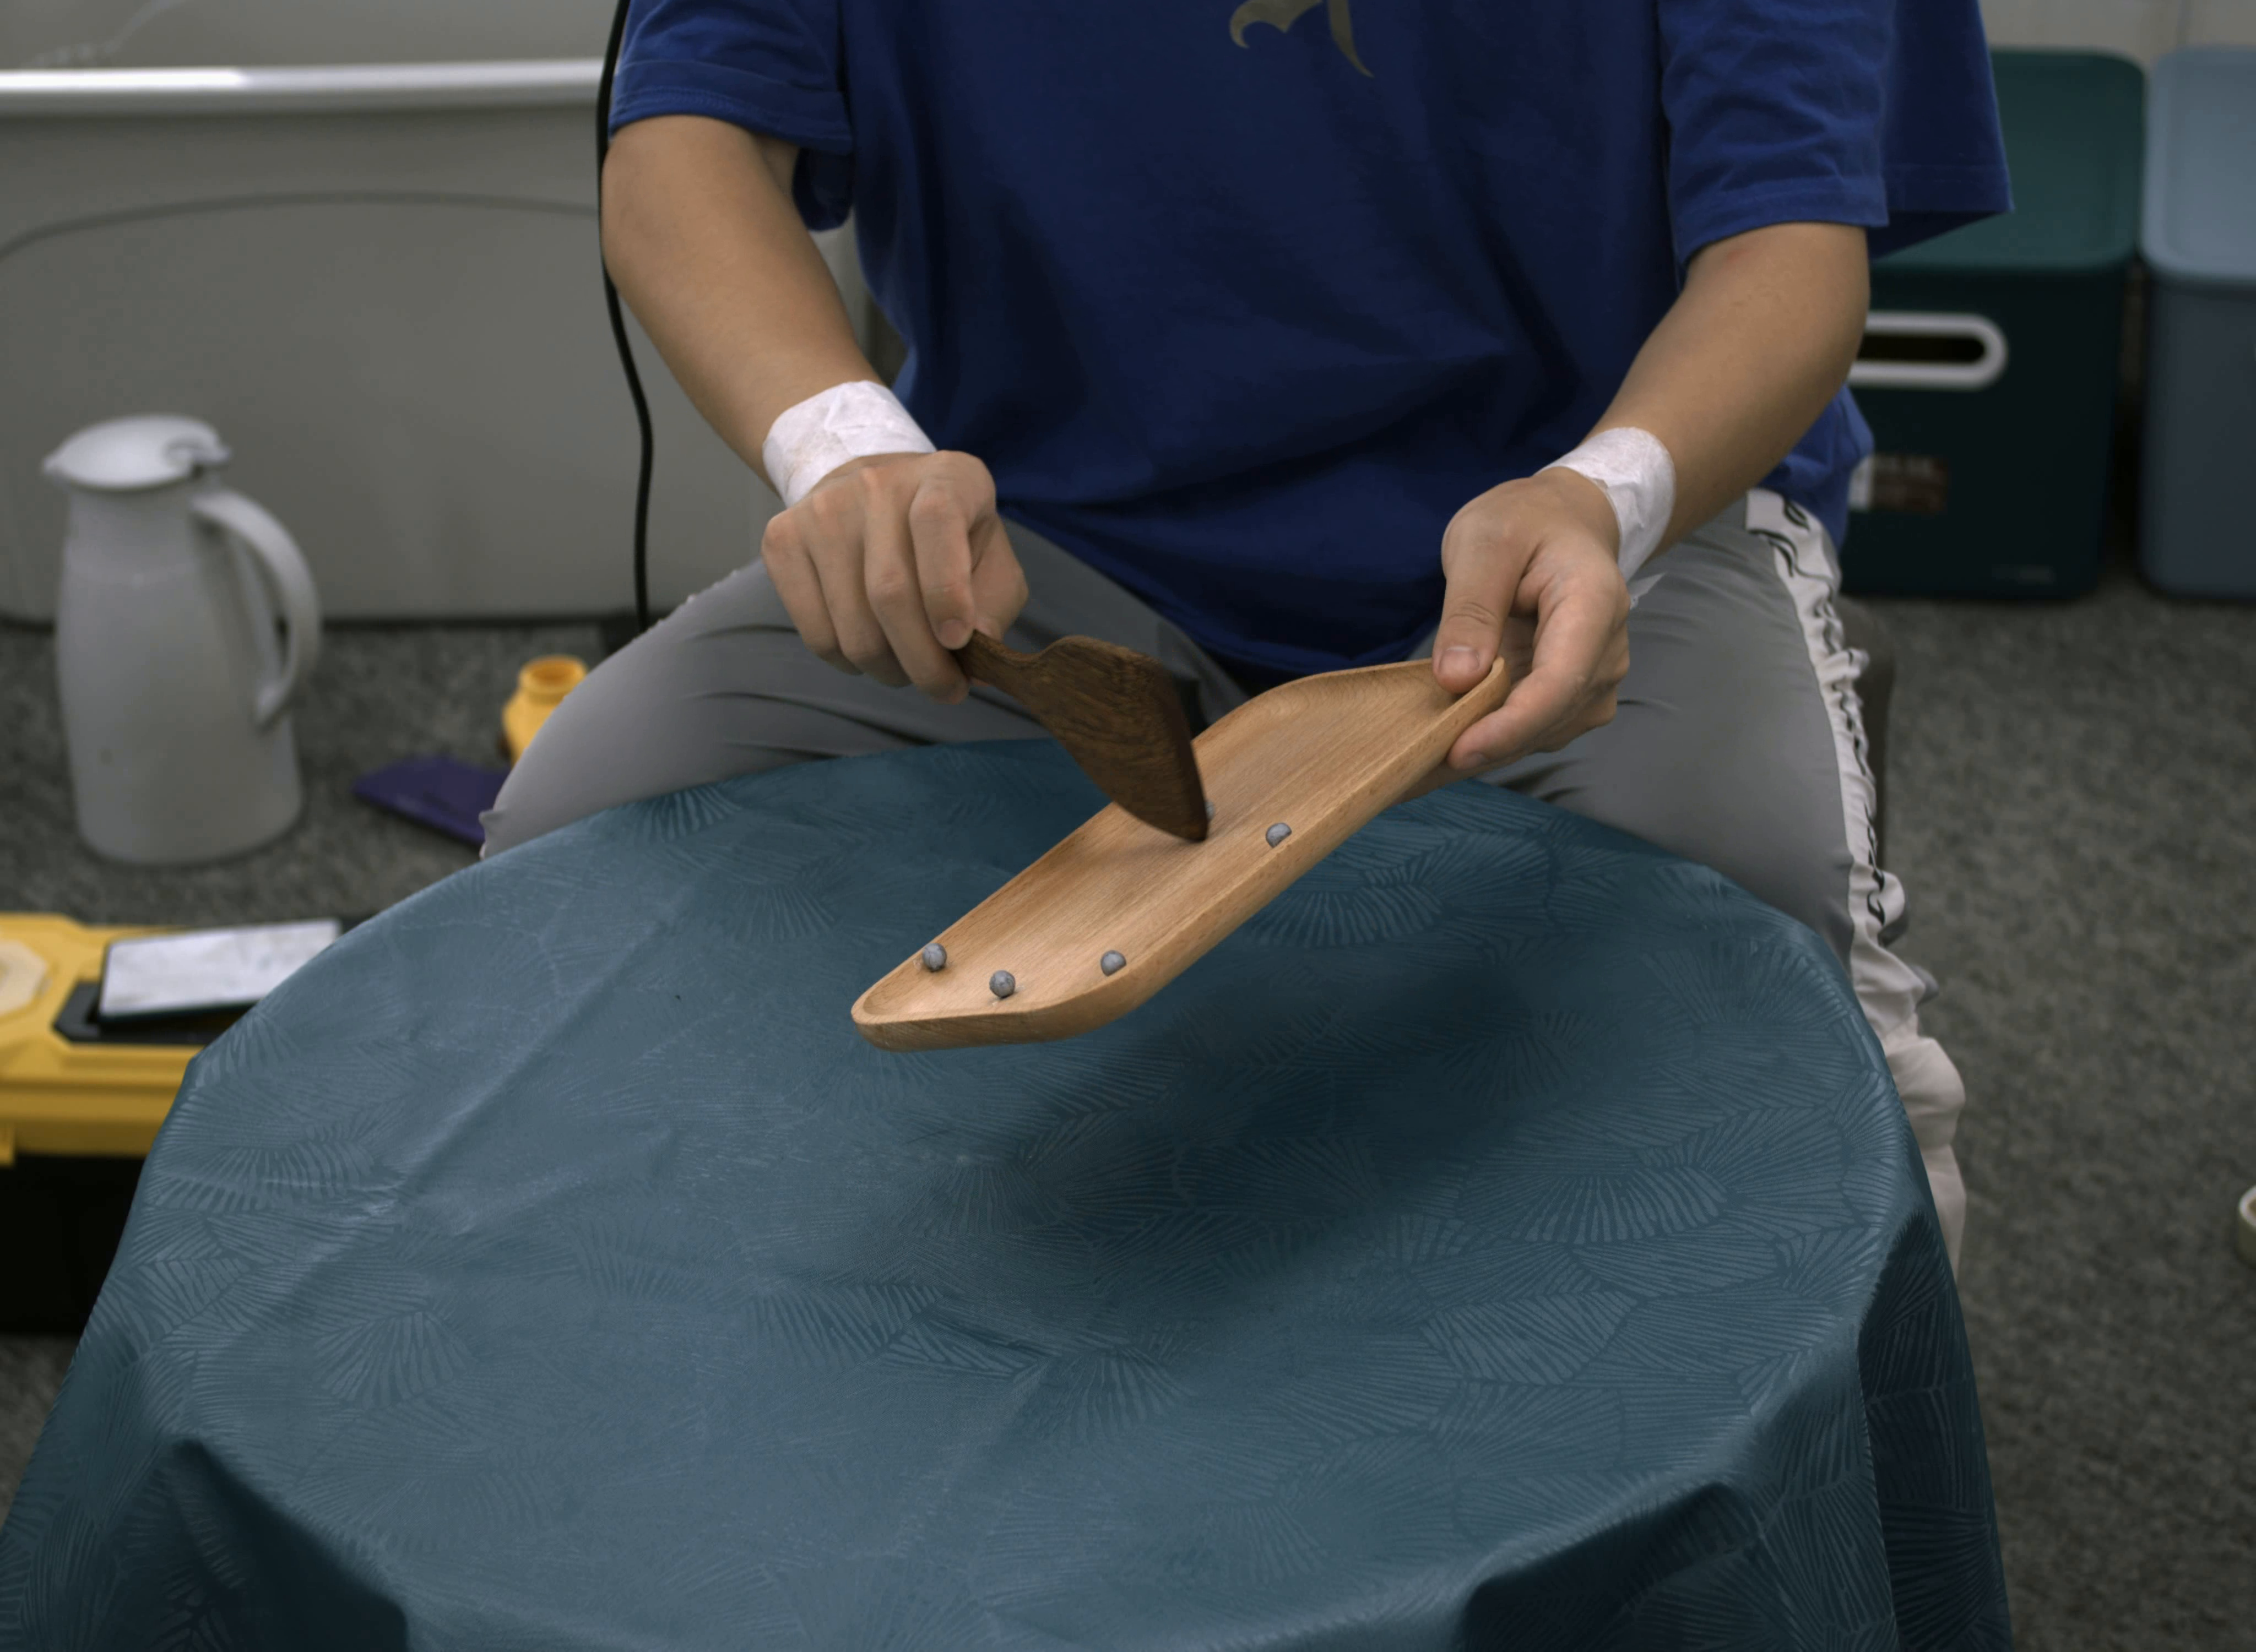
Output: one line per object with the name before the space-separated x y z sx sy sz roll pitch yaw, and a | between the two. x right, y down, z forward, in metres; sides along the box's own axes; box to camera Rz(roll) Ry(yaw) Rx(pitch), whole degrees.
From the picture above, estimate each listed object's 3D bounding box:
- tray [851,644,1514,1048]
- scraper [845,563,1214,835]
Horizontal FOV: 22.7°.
tray | 0.021 0.006 1.860 0.129 0.023 0.254 -3 25 45
scraper | -0.039 -0.053 1.924 0.011 0.075 0.211 -31 31 -23
